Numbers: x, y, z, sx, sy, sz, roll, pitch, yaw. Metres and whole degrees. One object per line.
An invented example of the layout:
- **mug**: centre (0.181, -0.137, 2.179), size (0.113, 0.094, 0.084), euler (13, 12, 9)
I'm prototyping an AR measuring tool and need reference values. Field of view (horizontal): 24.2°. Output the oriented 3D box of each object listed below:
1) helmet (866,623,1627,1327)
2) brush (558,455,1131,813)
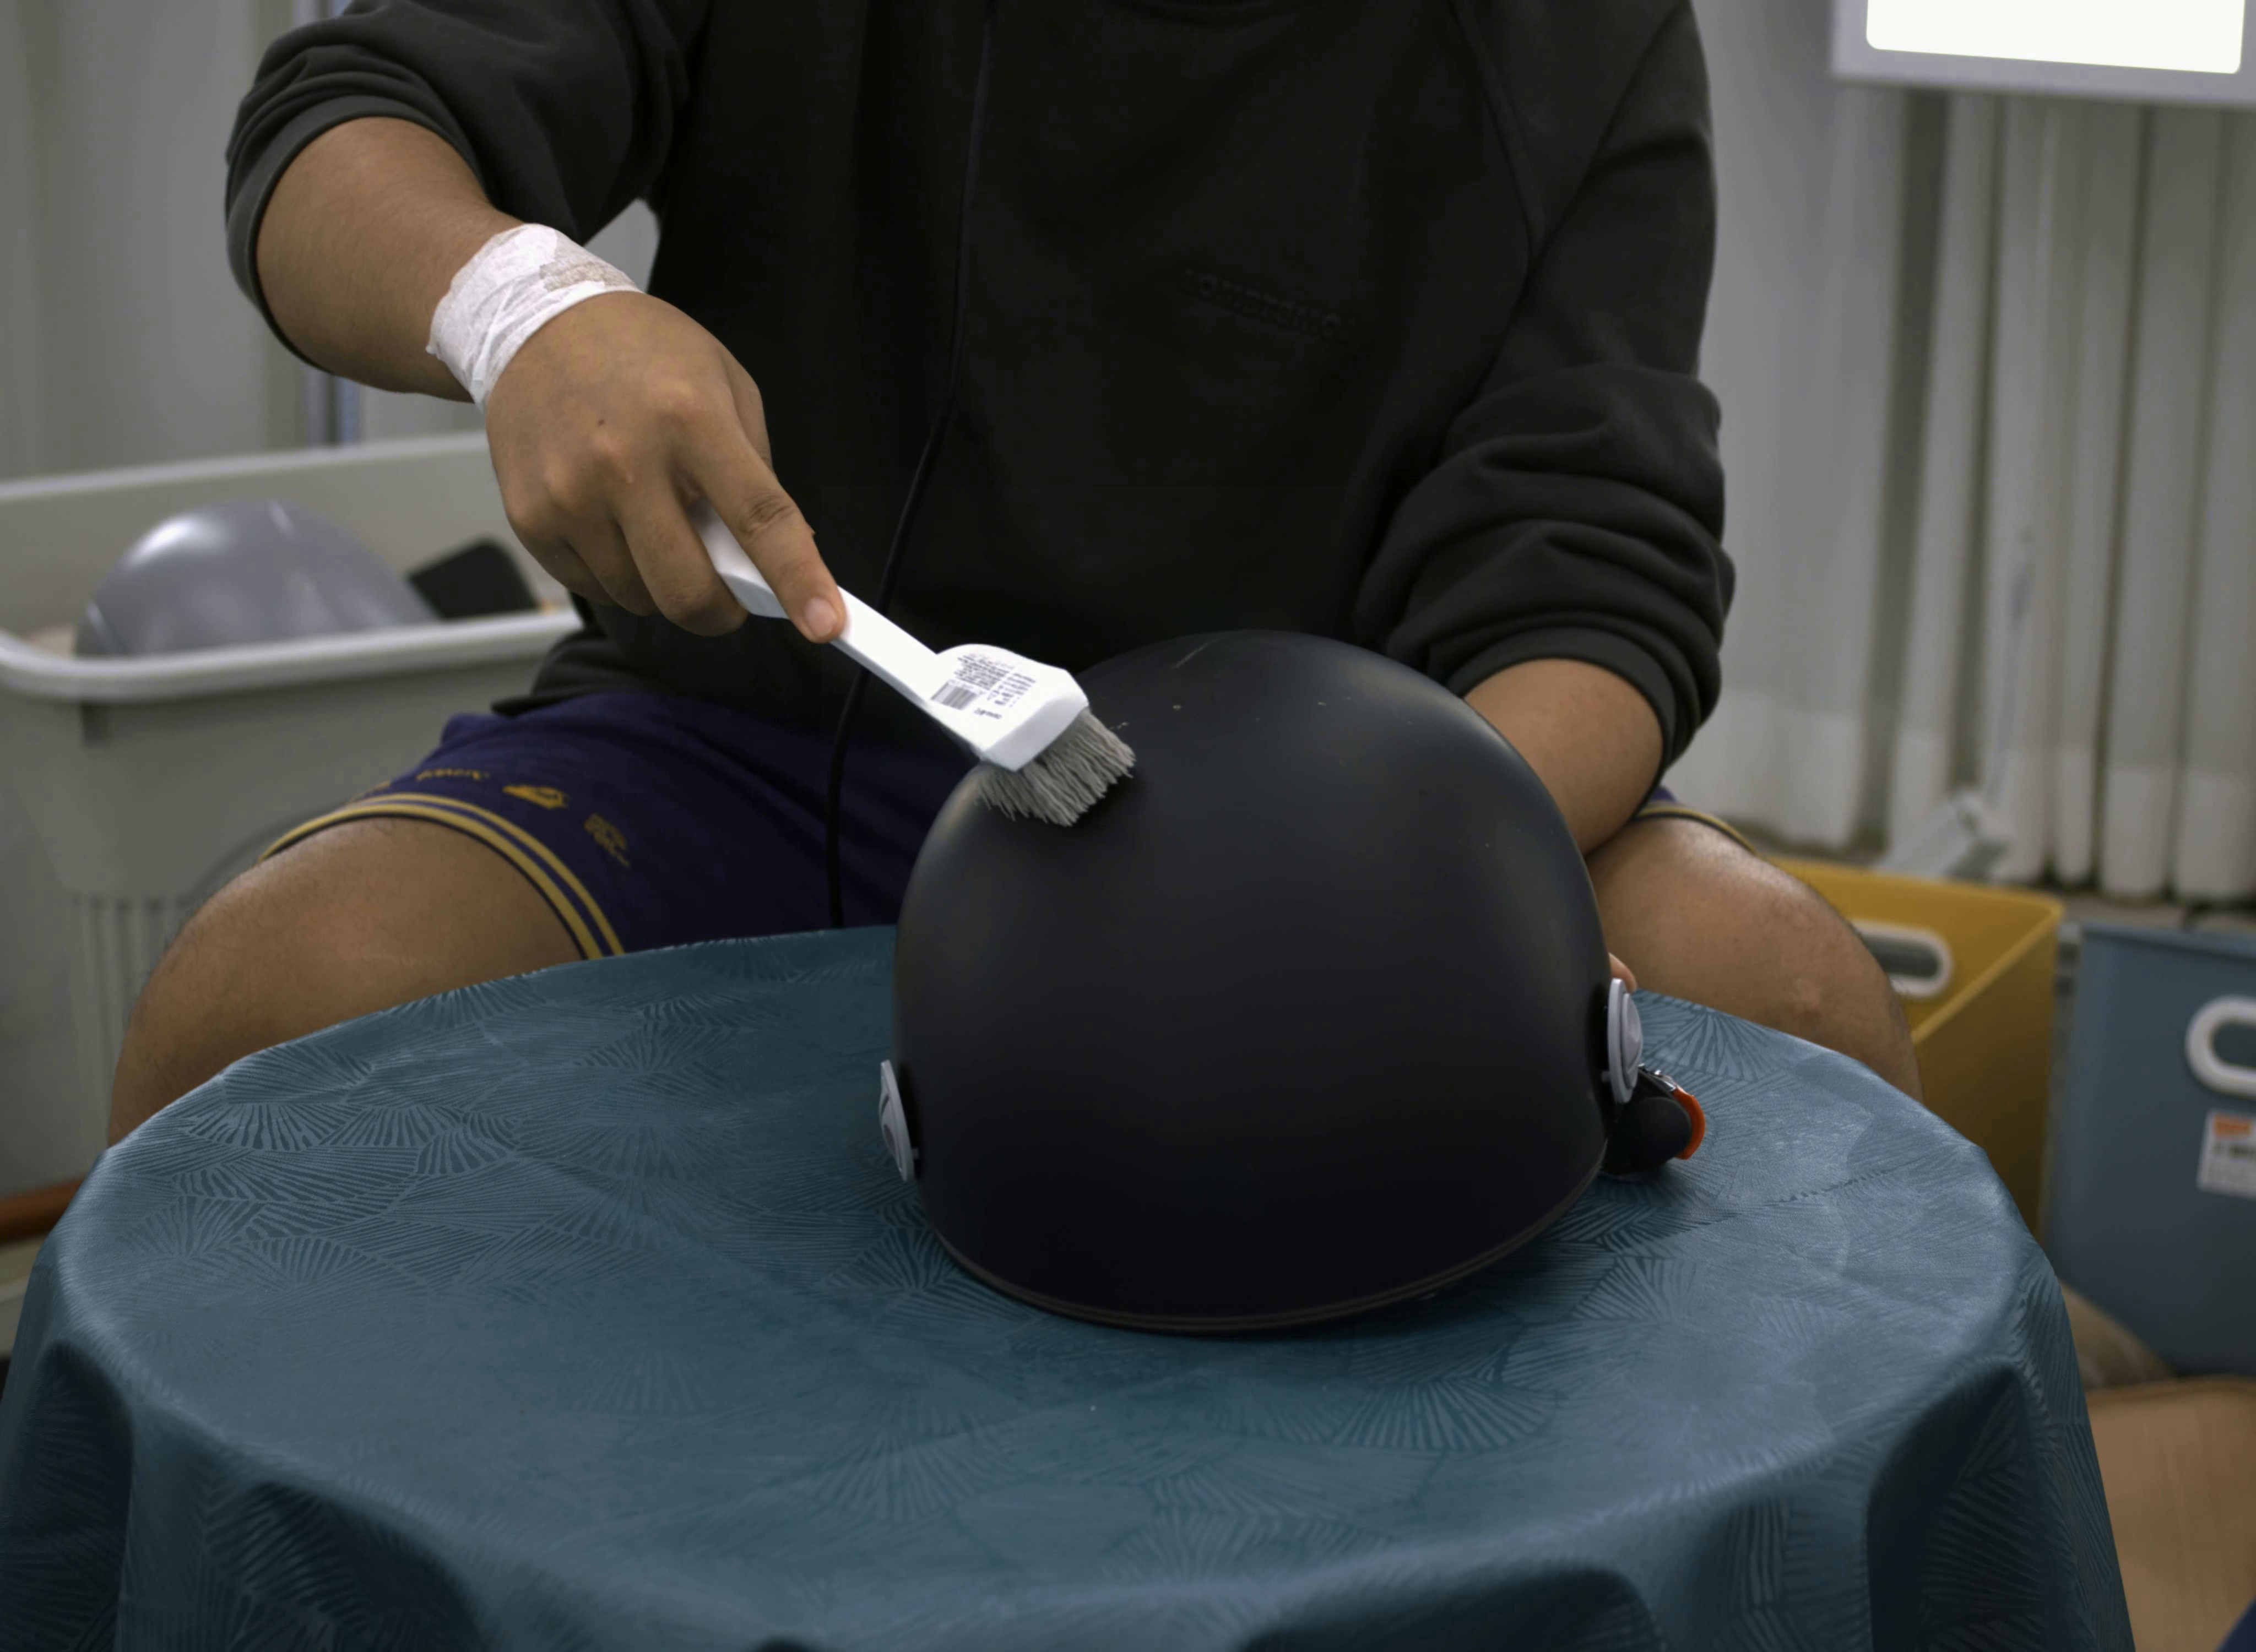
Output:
- **helmet**: centre (0.032, 0.030, 1.596), size (0.229, 0.168, 0.271), euler (-6, 20, 5)
- **brush**: centre (-0.088, -0.059, 1.591), size (0.240, 0.051, 0.034), euler (27, 68, 42)
